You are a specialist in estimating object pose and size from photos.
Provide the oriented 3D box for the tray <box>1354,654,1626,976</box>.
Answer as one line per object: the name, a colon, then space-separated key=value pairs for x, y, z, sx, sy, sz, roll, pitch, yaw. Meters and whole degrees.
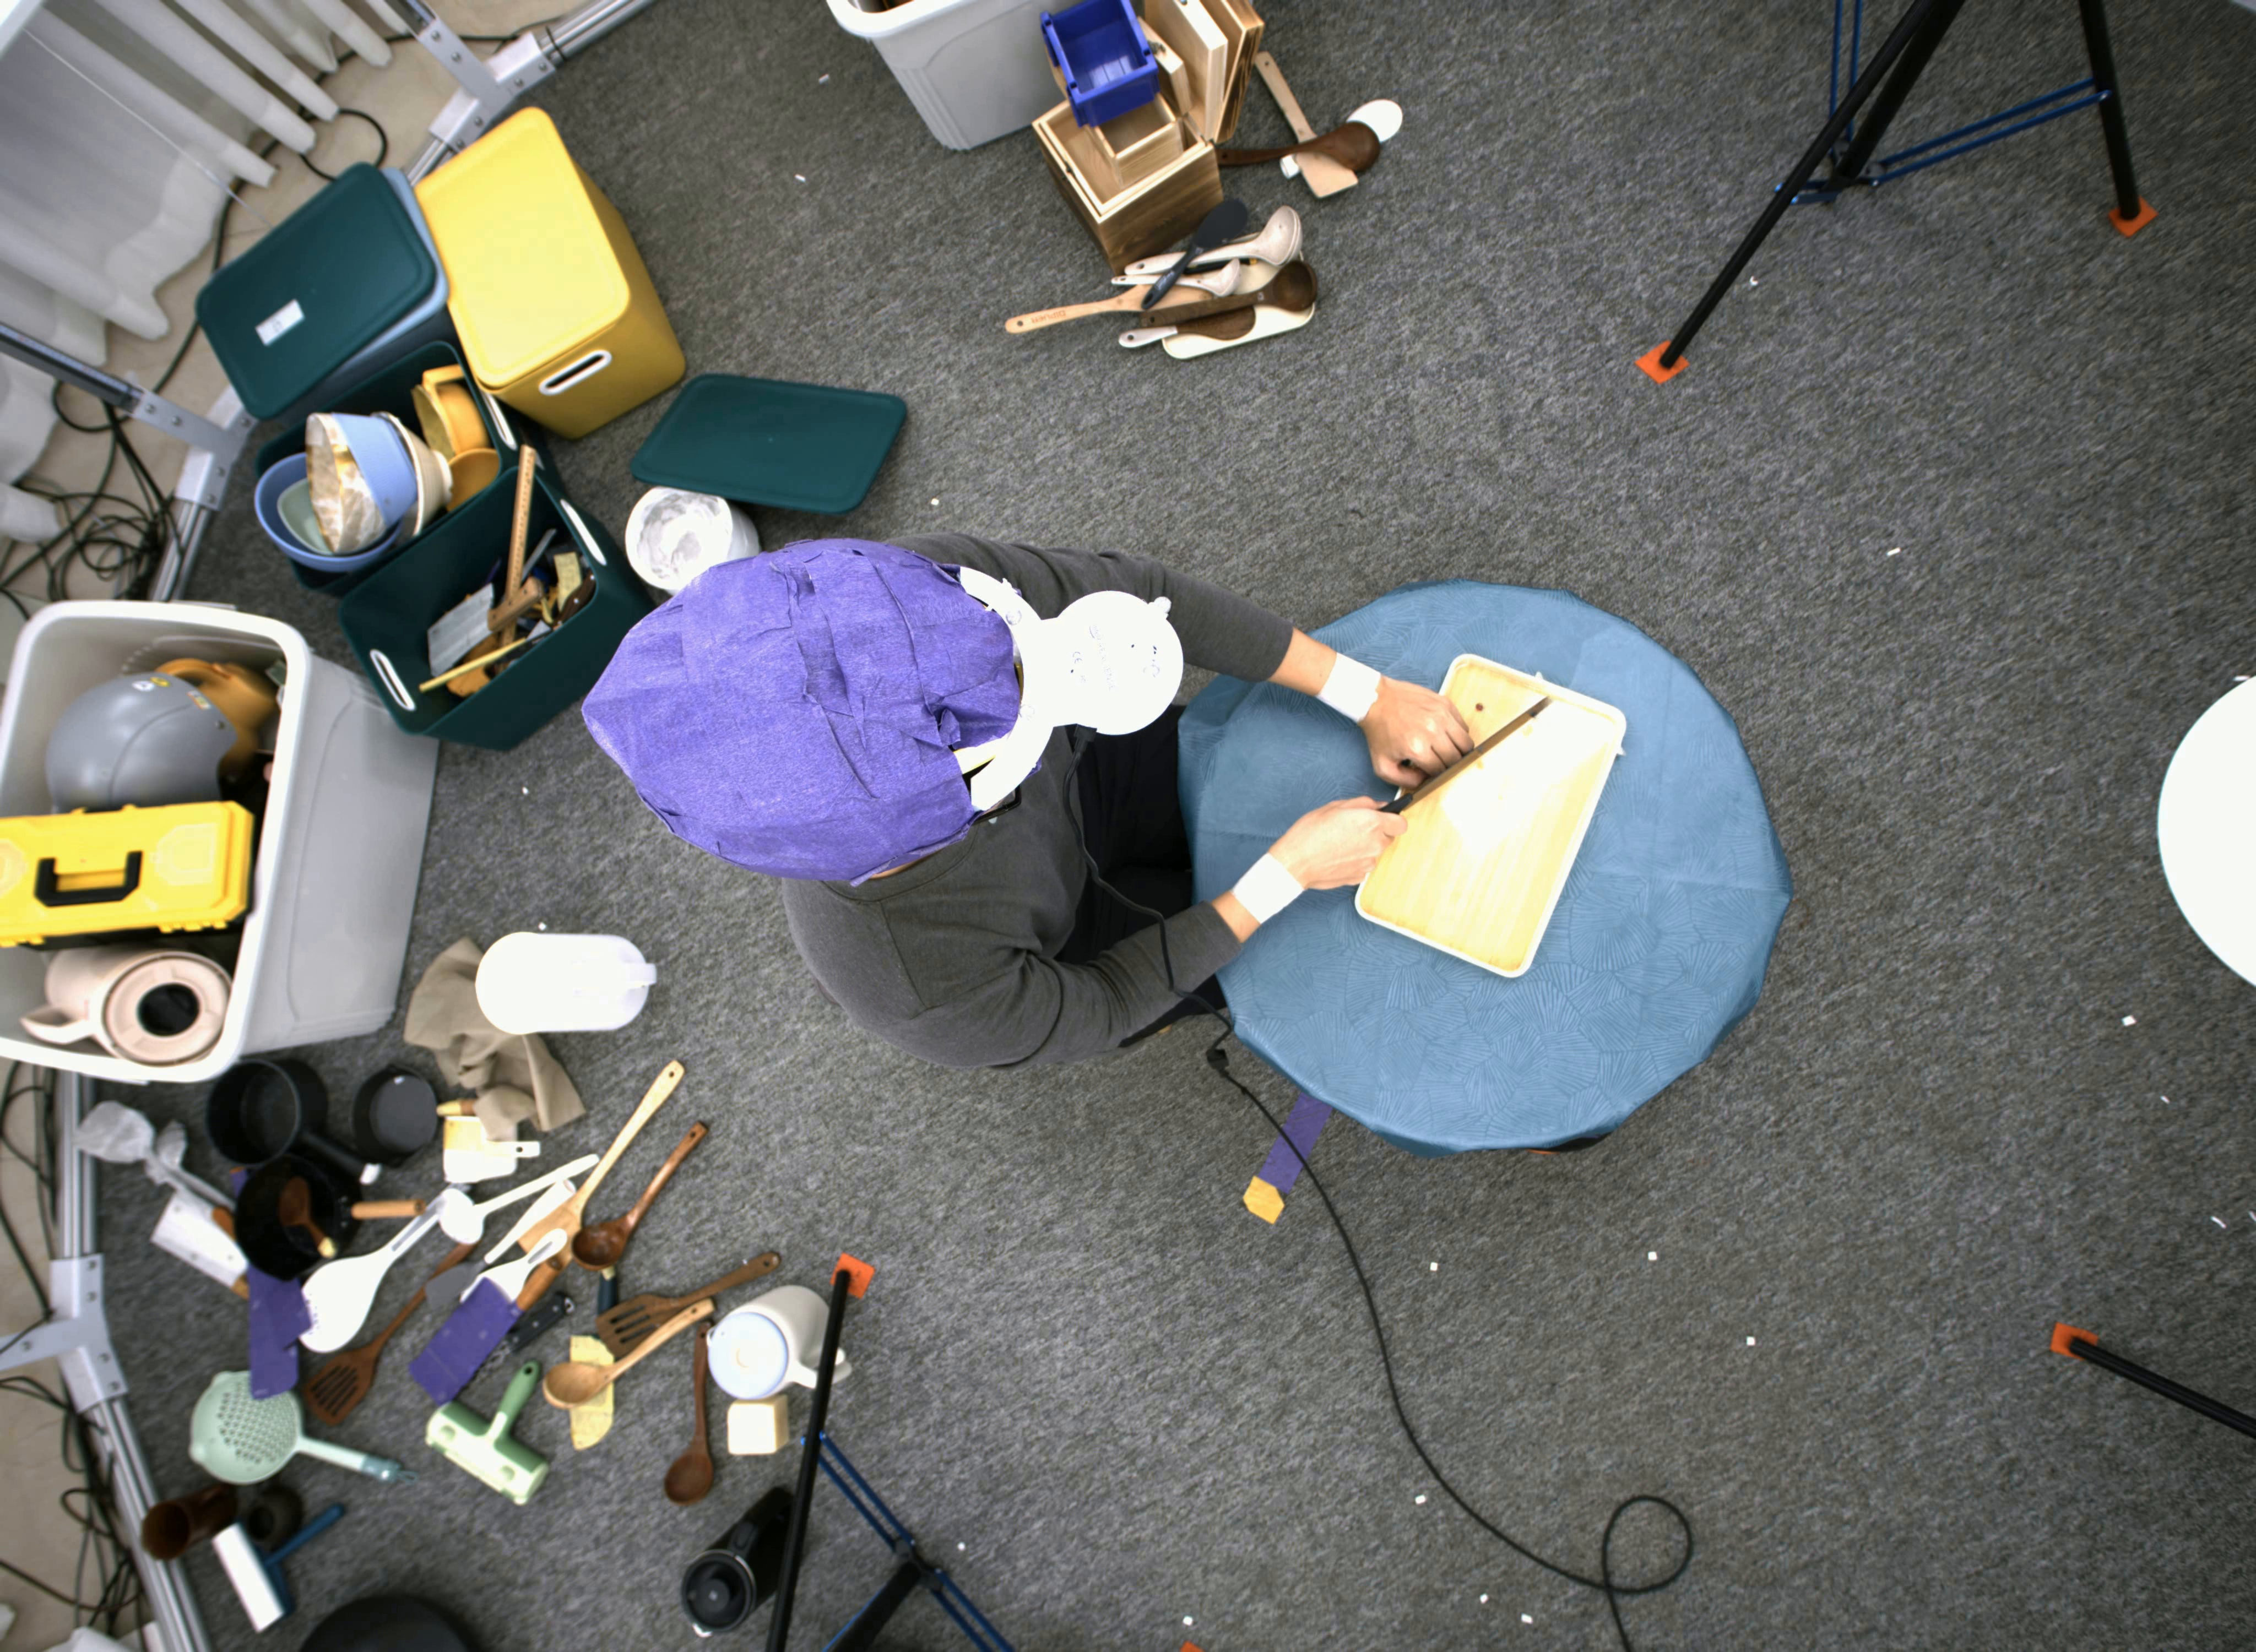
tray: x=0.376 y=-0.015 z=1.431 sx=0.191 sy=0.027 sz=0.300 roll=23 pitch=91 yaw=11

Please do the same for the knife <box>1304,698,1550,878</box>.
knife: x=0.306 y=-0.040 z=1.406 sx=0.303 sy=0.081 sz=0.020 roll=-35 pitch=75 yaw=2
